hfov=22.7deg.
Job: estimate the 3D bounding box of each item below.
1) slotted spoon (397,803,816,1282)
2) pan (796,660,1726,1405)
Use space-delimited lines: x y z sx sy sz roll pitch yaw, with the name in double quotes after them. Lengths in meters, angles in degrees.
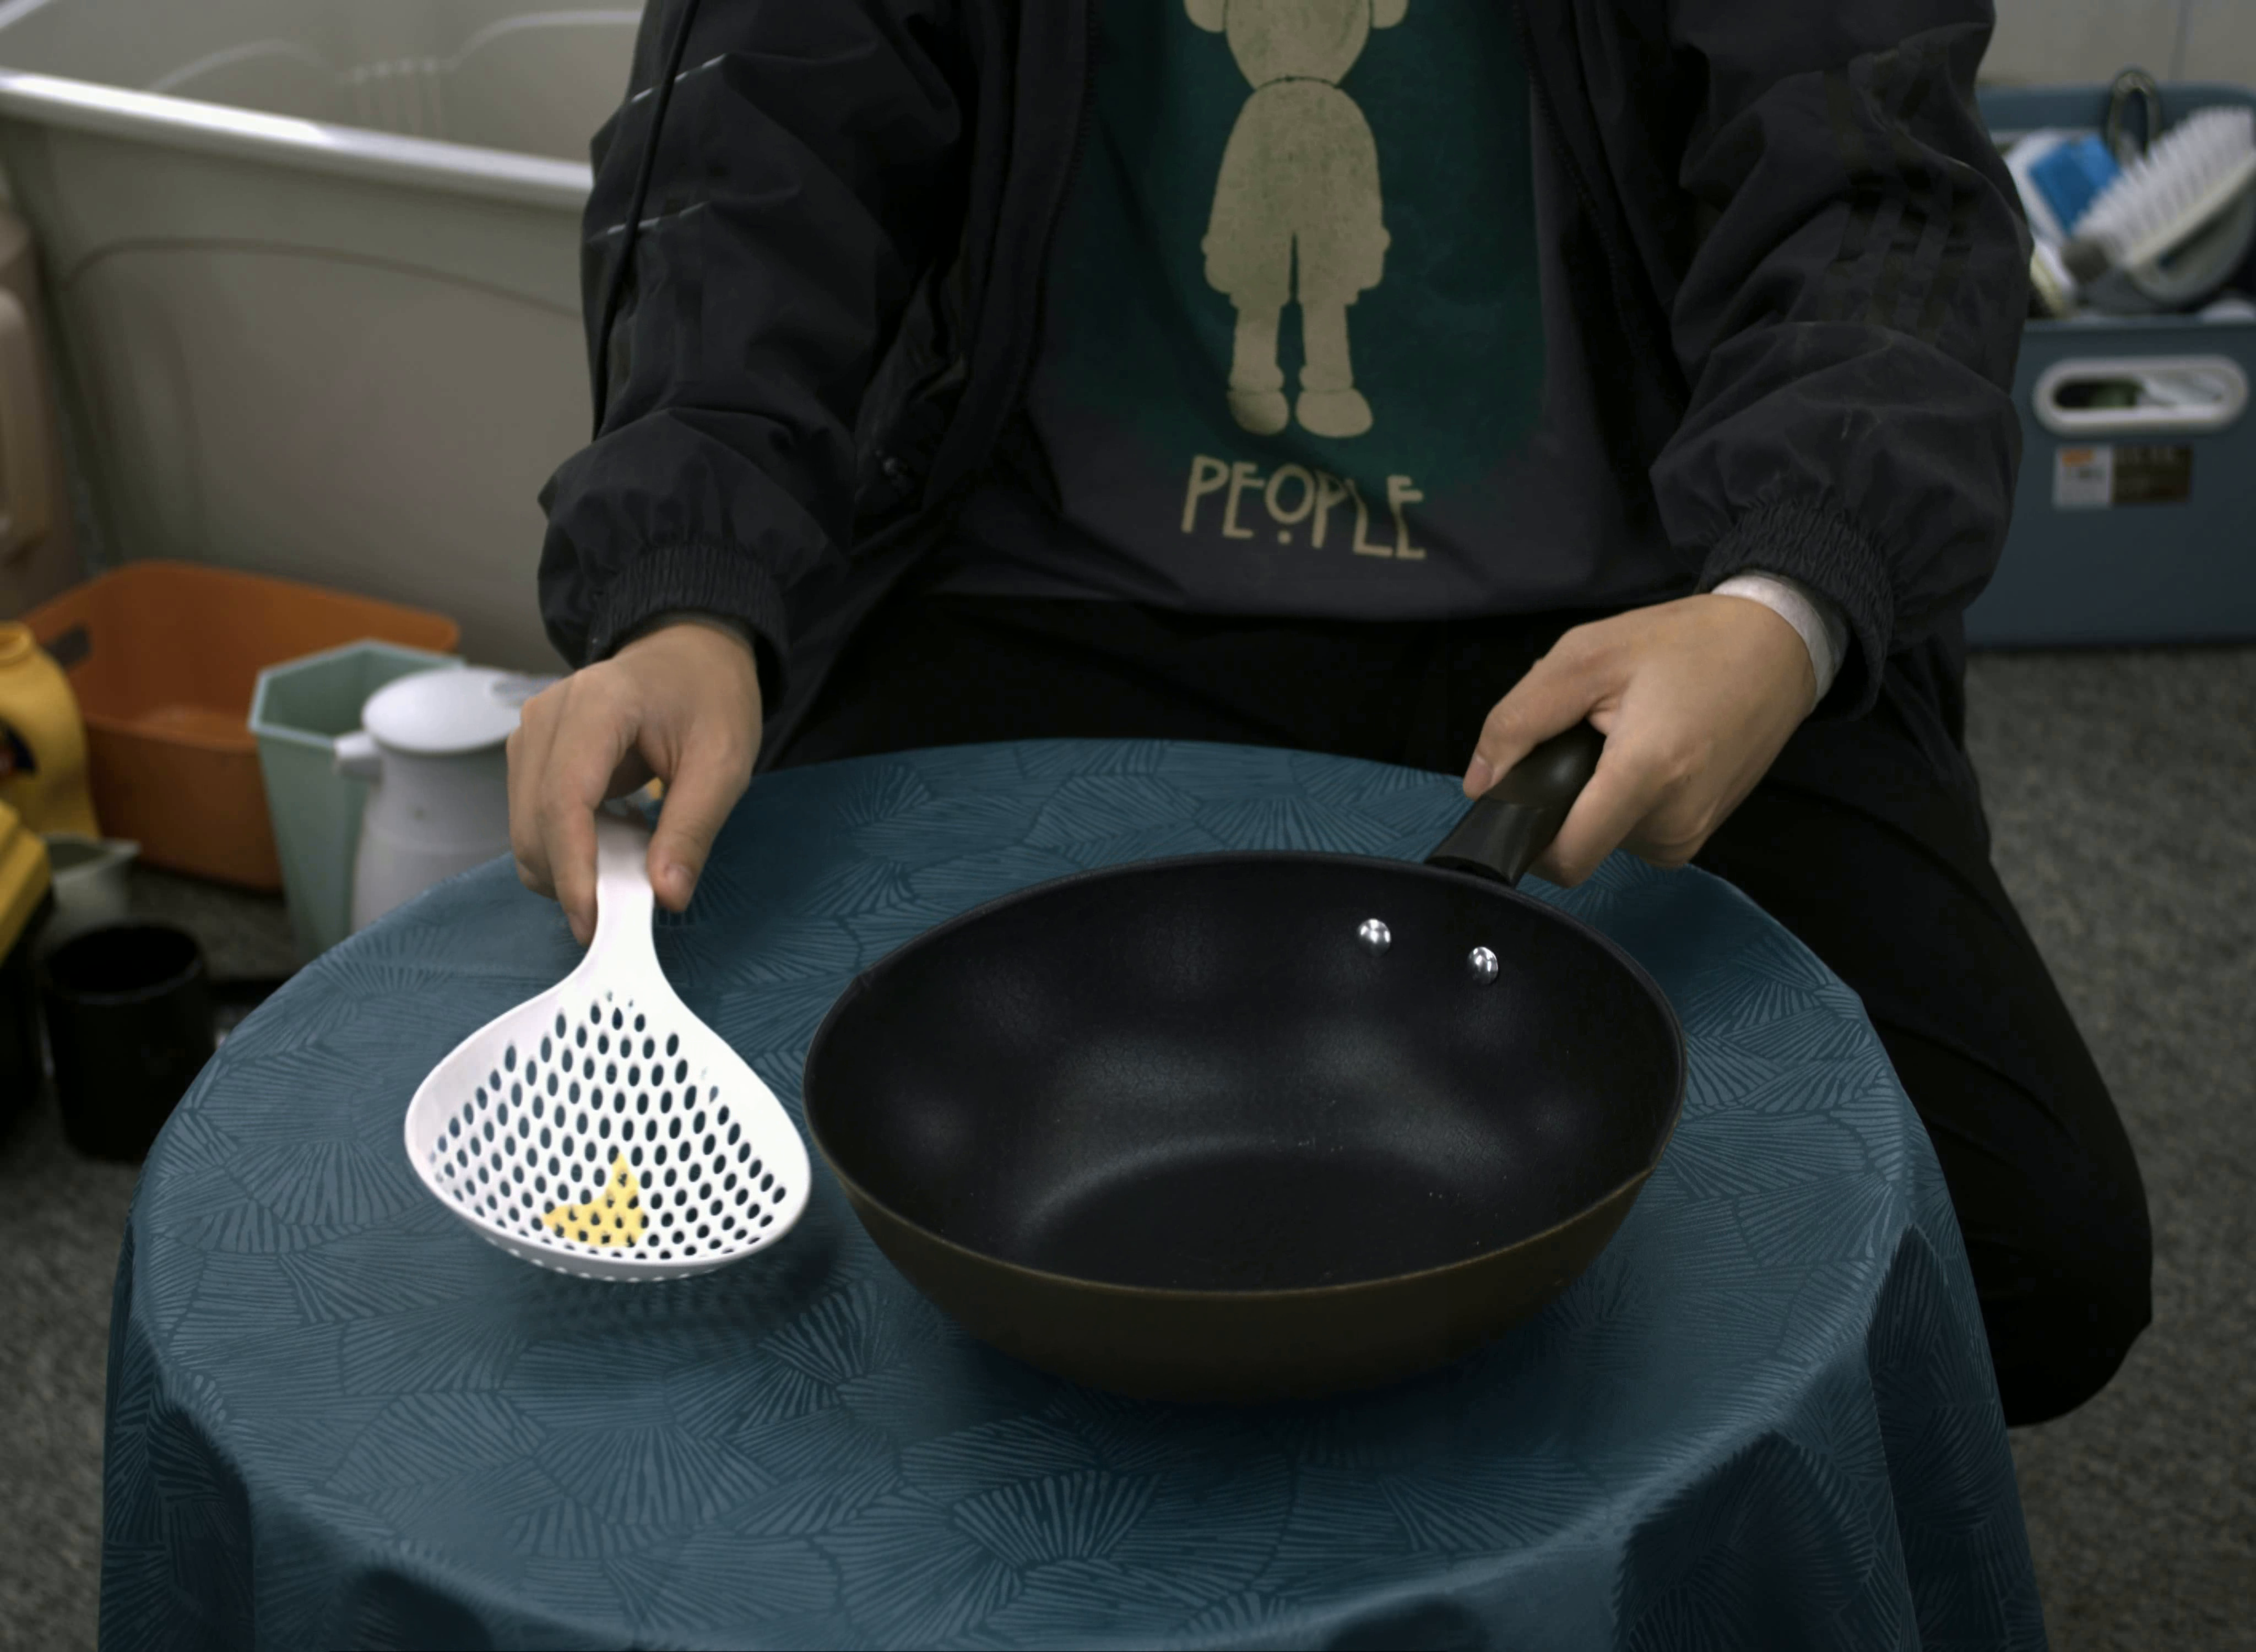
-0.177 0.063 1.925 0.136 0.049 0.353 7 30 -7 "slotted spoon"
0.082 0.068 1.864 0.286 0.086 0.471 13 31 27 "pan"
